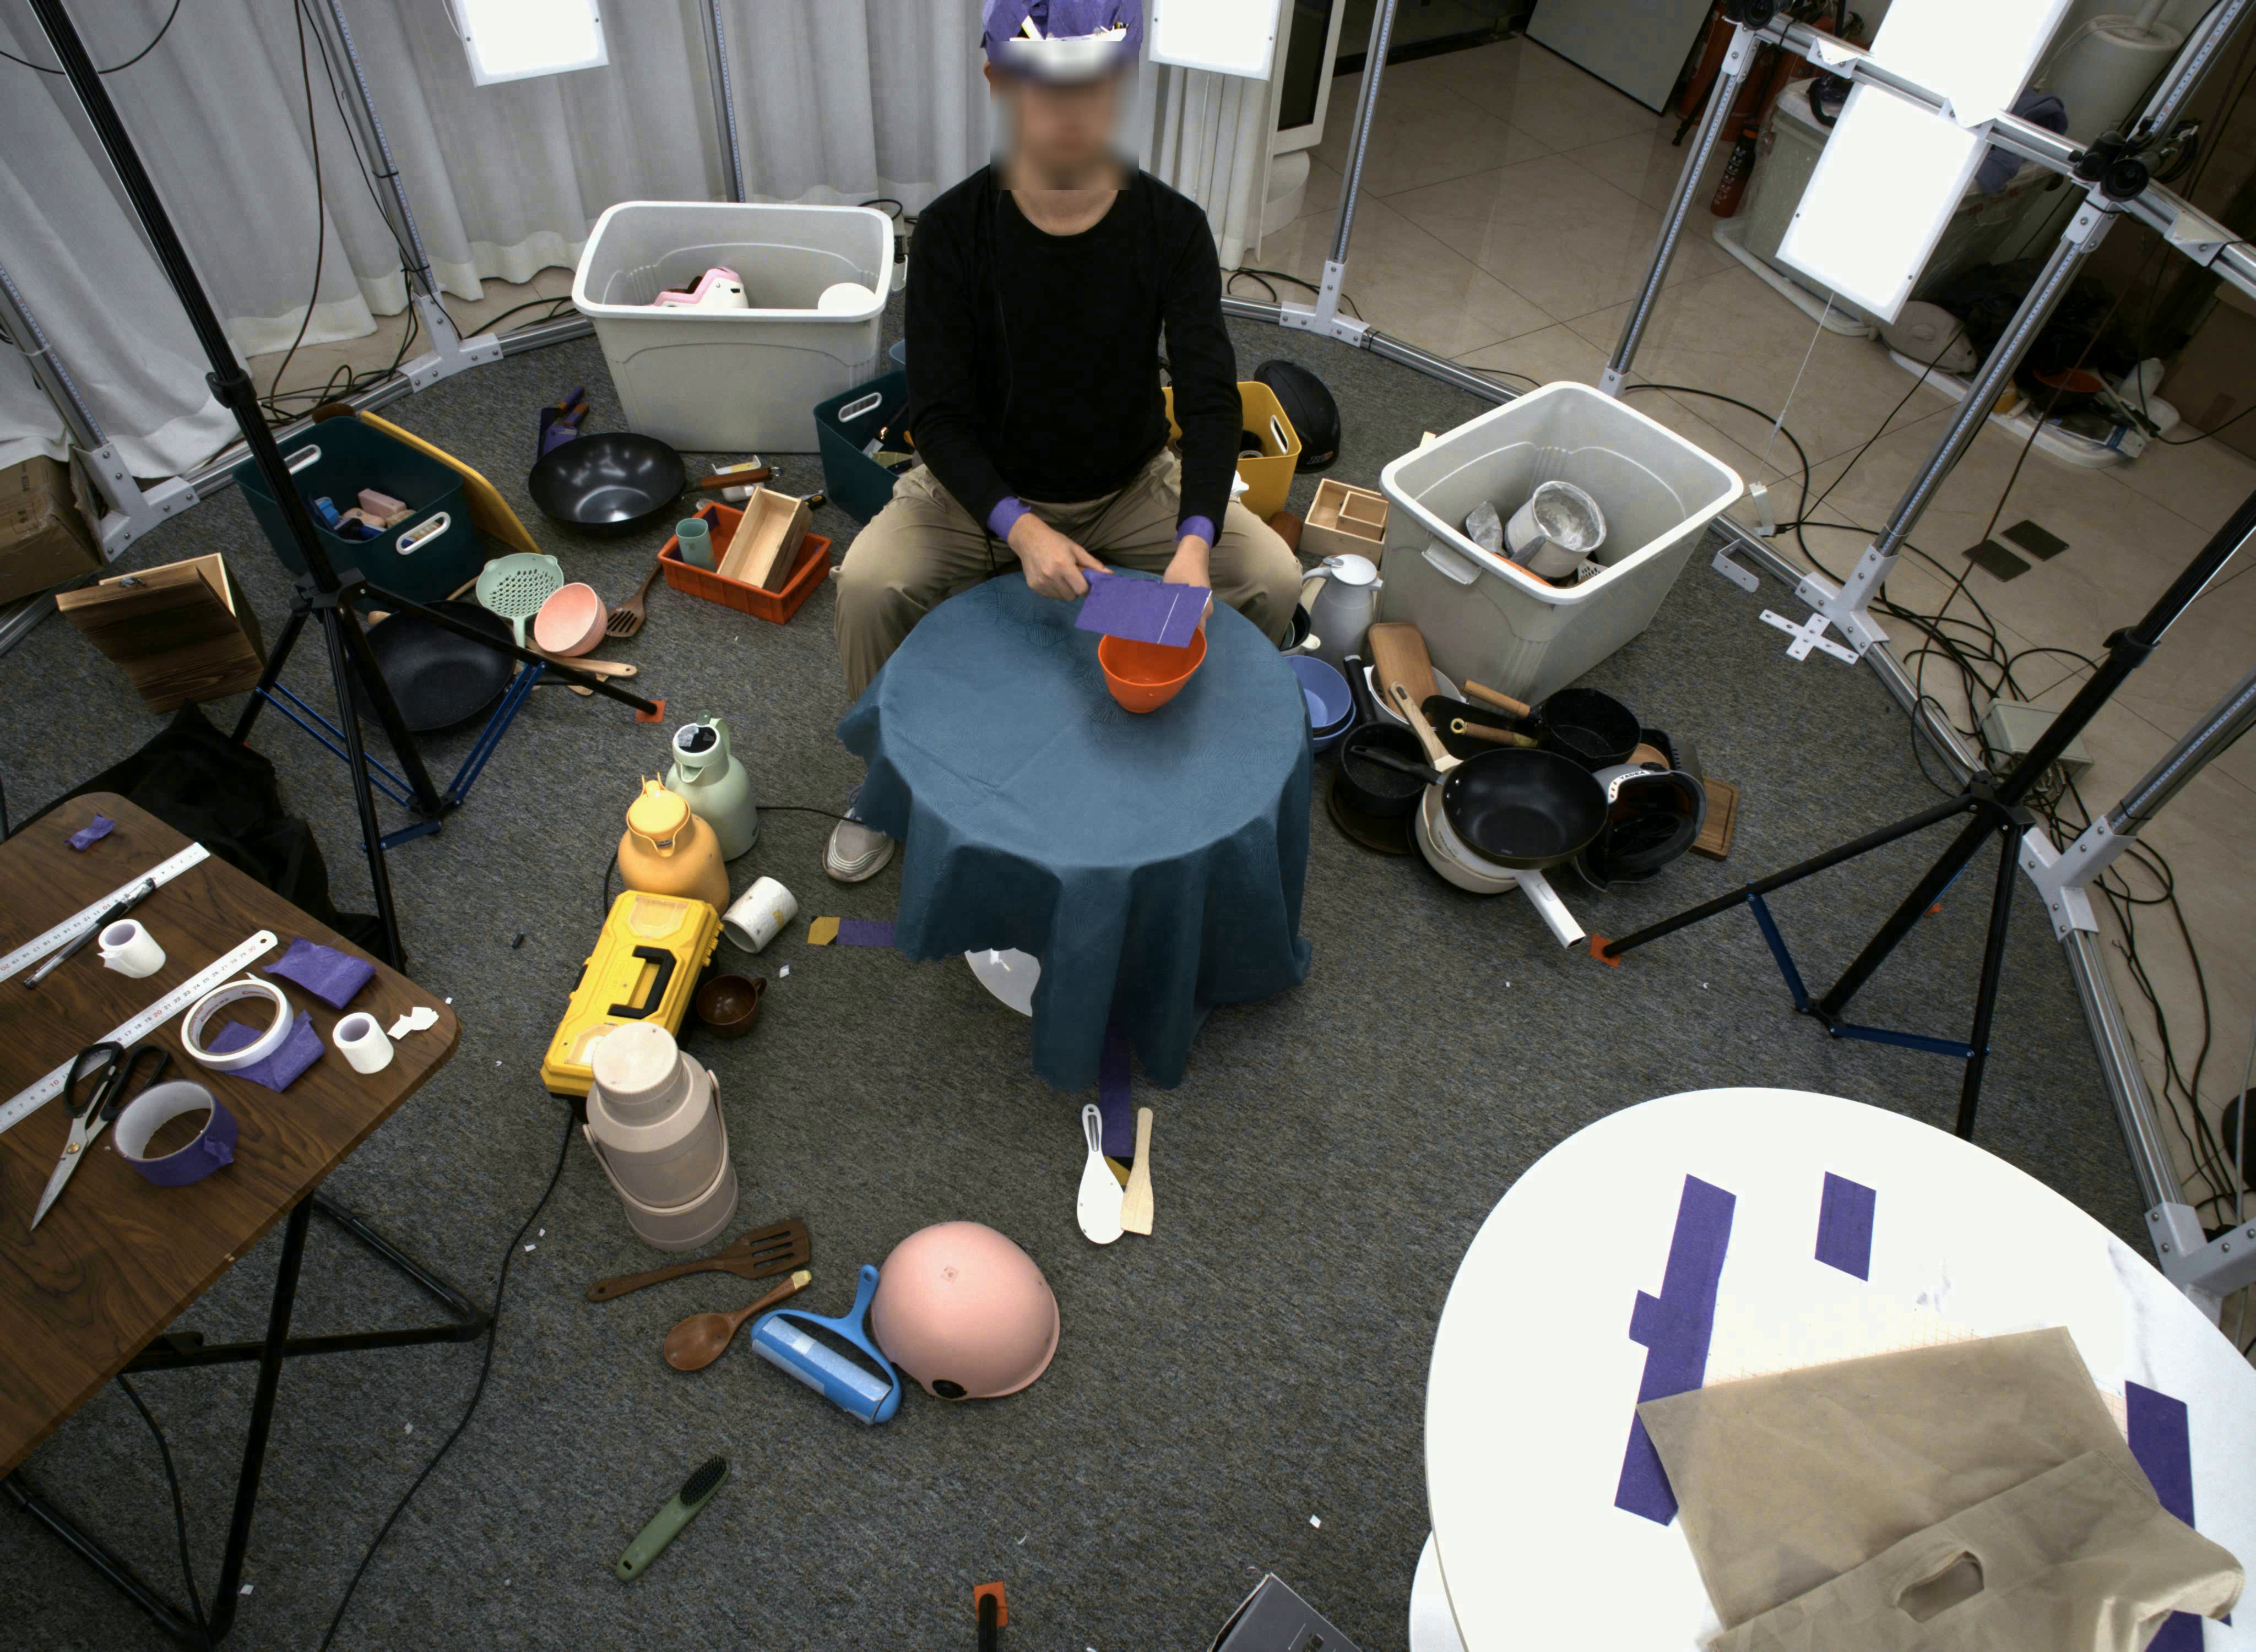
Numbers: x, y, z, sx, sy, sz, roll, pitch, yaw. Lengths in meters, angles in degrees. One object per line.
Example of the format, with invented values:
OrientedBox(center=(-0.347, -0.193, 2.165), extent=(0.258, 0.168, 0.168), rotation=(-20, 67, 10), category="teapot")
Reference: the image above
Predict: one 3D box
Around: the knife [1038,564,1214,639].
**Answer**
OrientedBox(center=(-0.021, -0.317, 1.805), extent=(0.318, 0.031, 0.105), rotation=(15, 76, 41), category="knife")

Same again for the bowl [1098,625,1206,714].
OrientedBox(center=(0.030, -0.216, 1.792), extent=(0.148, 0.102, 0.152), rotation=(2, 49, -3), category="bowl")
